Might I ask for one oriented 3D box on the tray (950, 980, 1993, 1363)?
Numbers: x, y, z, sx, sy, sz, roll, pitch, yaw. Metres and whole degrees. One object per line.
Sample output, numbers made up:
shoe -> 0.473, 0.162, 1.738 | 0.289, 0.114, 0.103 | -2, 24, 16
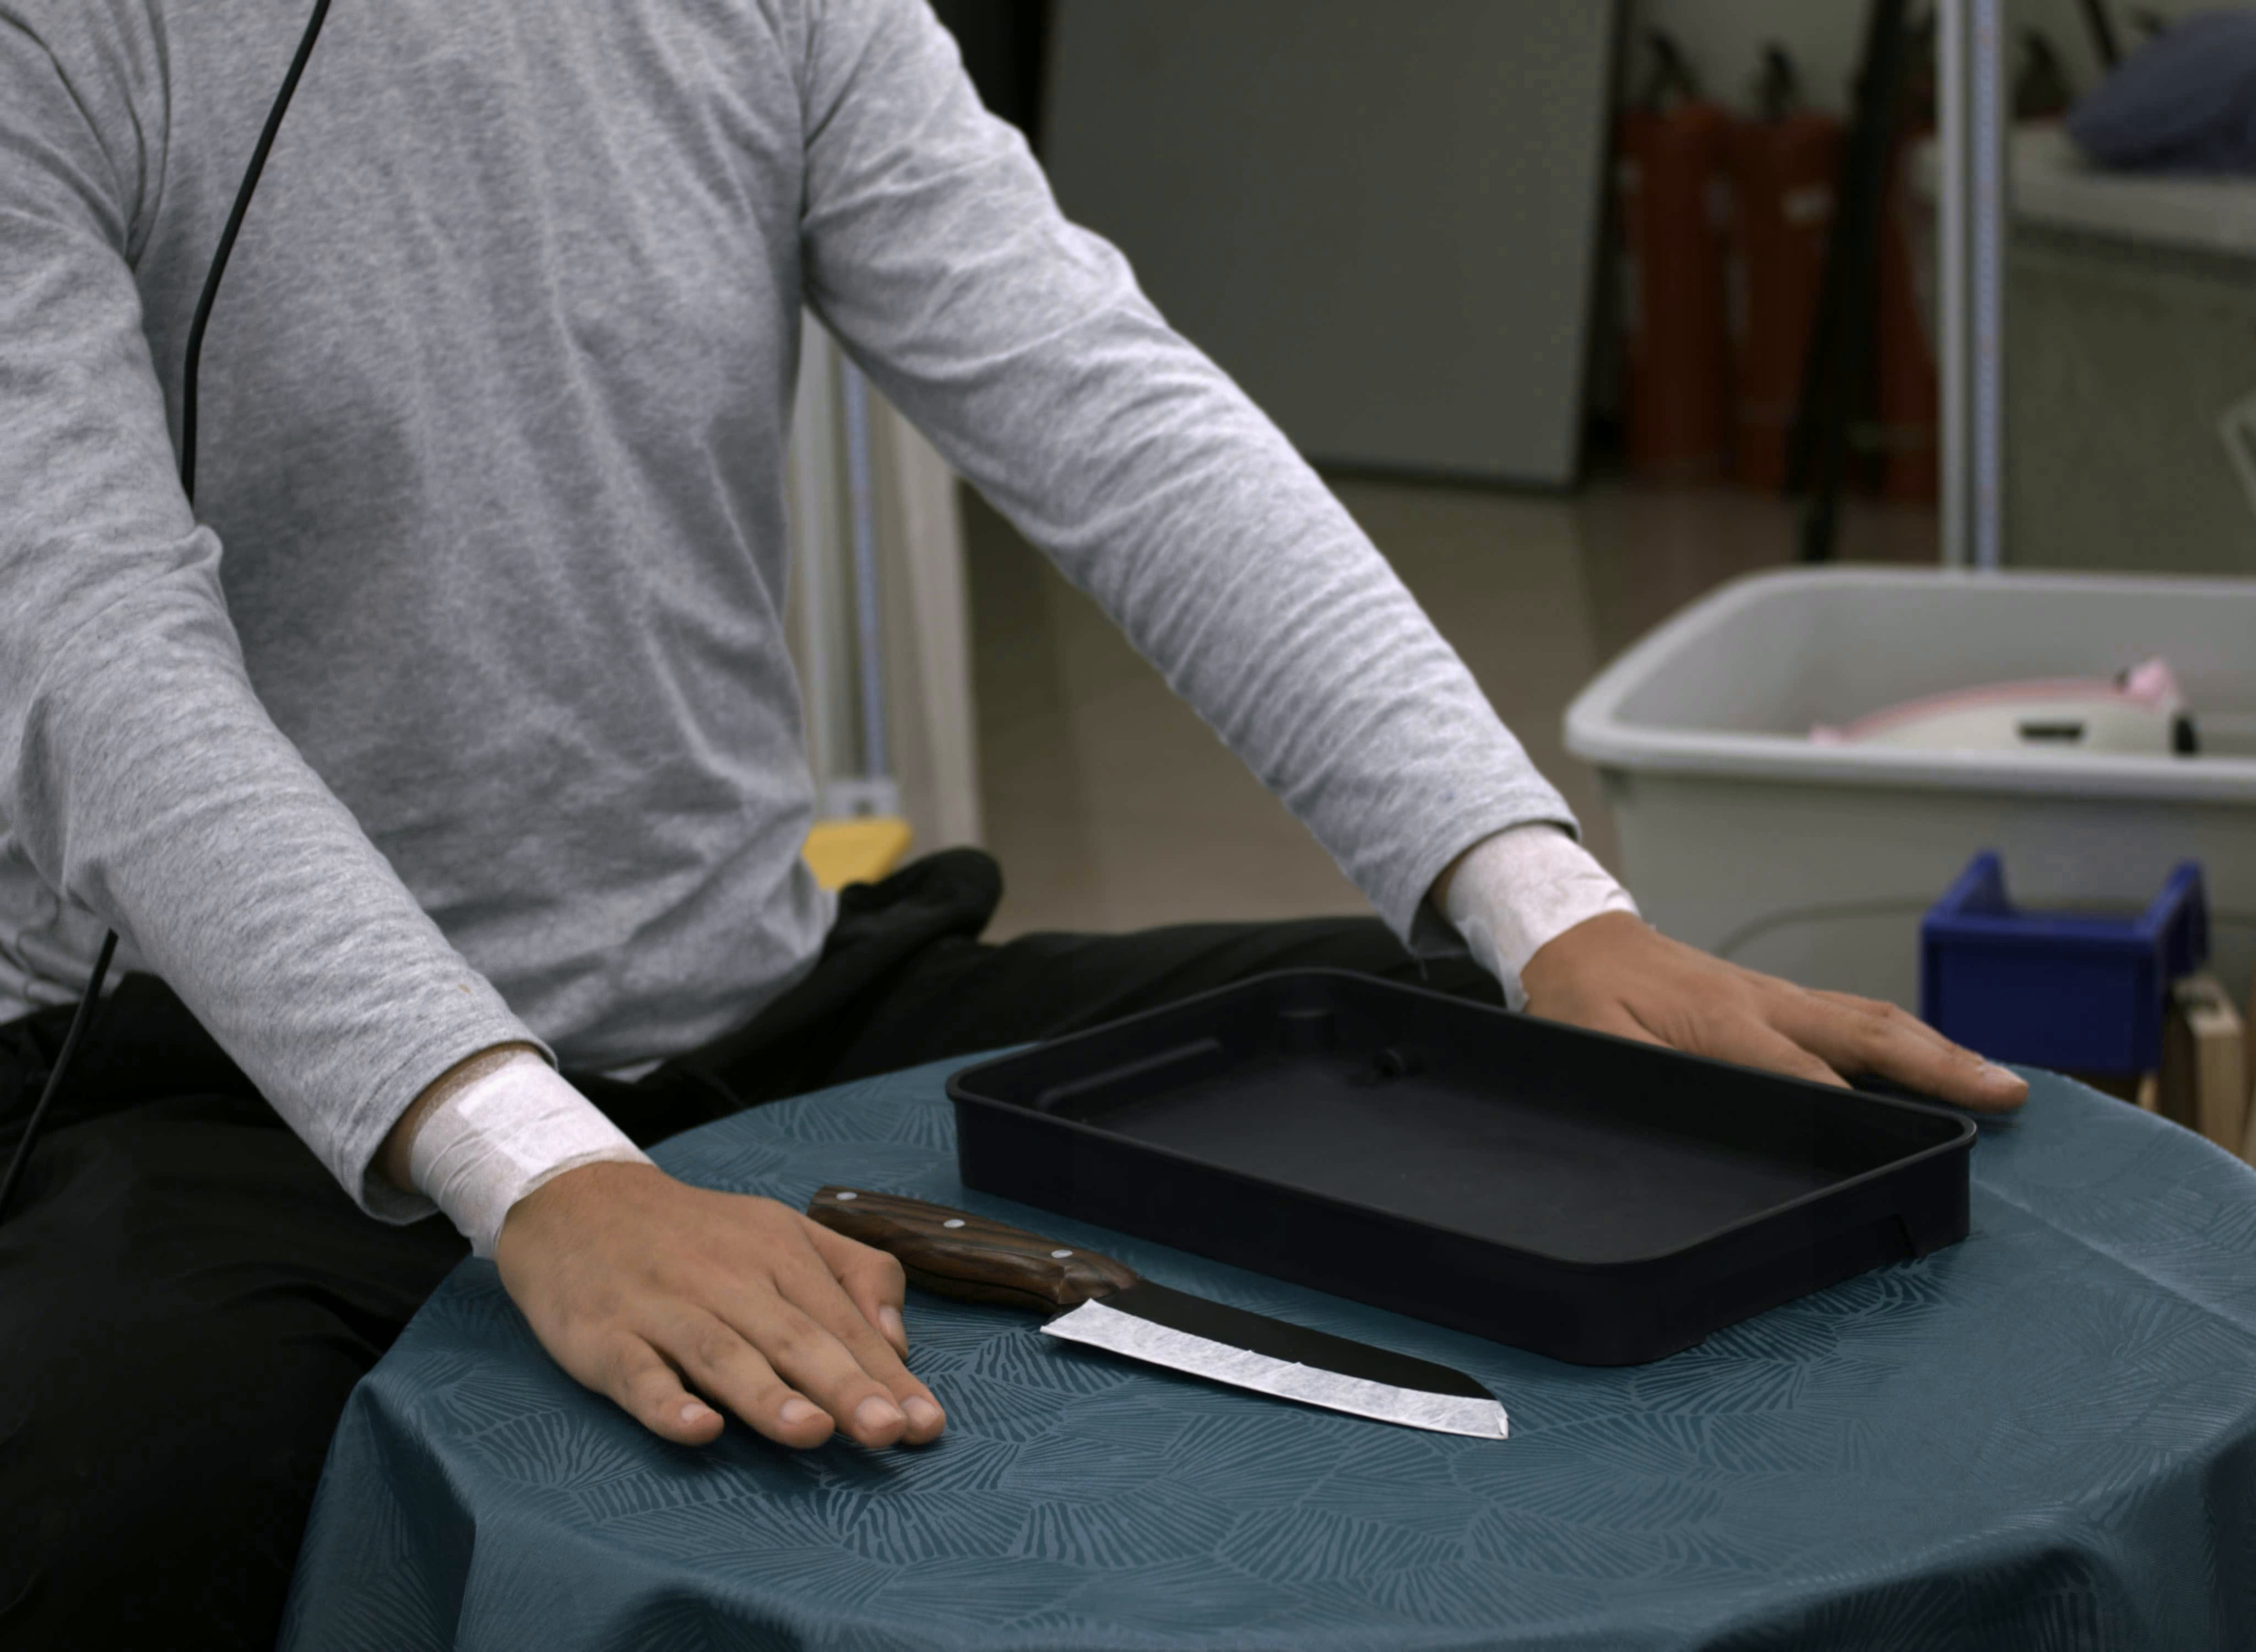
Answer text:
tray -> 0.106, 0.106, 1.731 | 0.180, 0.037, 0.321 | -16, 17, -41

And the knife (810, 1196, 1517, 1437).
knife -> 0.006, 0.149, 1.627 | 0.292, 0.020, 0.049 | 12, 26, 43
